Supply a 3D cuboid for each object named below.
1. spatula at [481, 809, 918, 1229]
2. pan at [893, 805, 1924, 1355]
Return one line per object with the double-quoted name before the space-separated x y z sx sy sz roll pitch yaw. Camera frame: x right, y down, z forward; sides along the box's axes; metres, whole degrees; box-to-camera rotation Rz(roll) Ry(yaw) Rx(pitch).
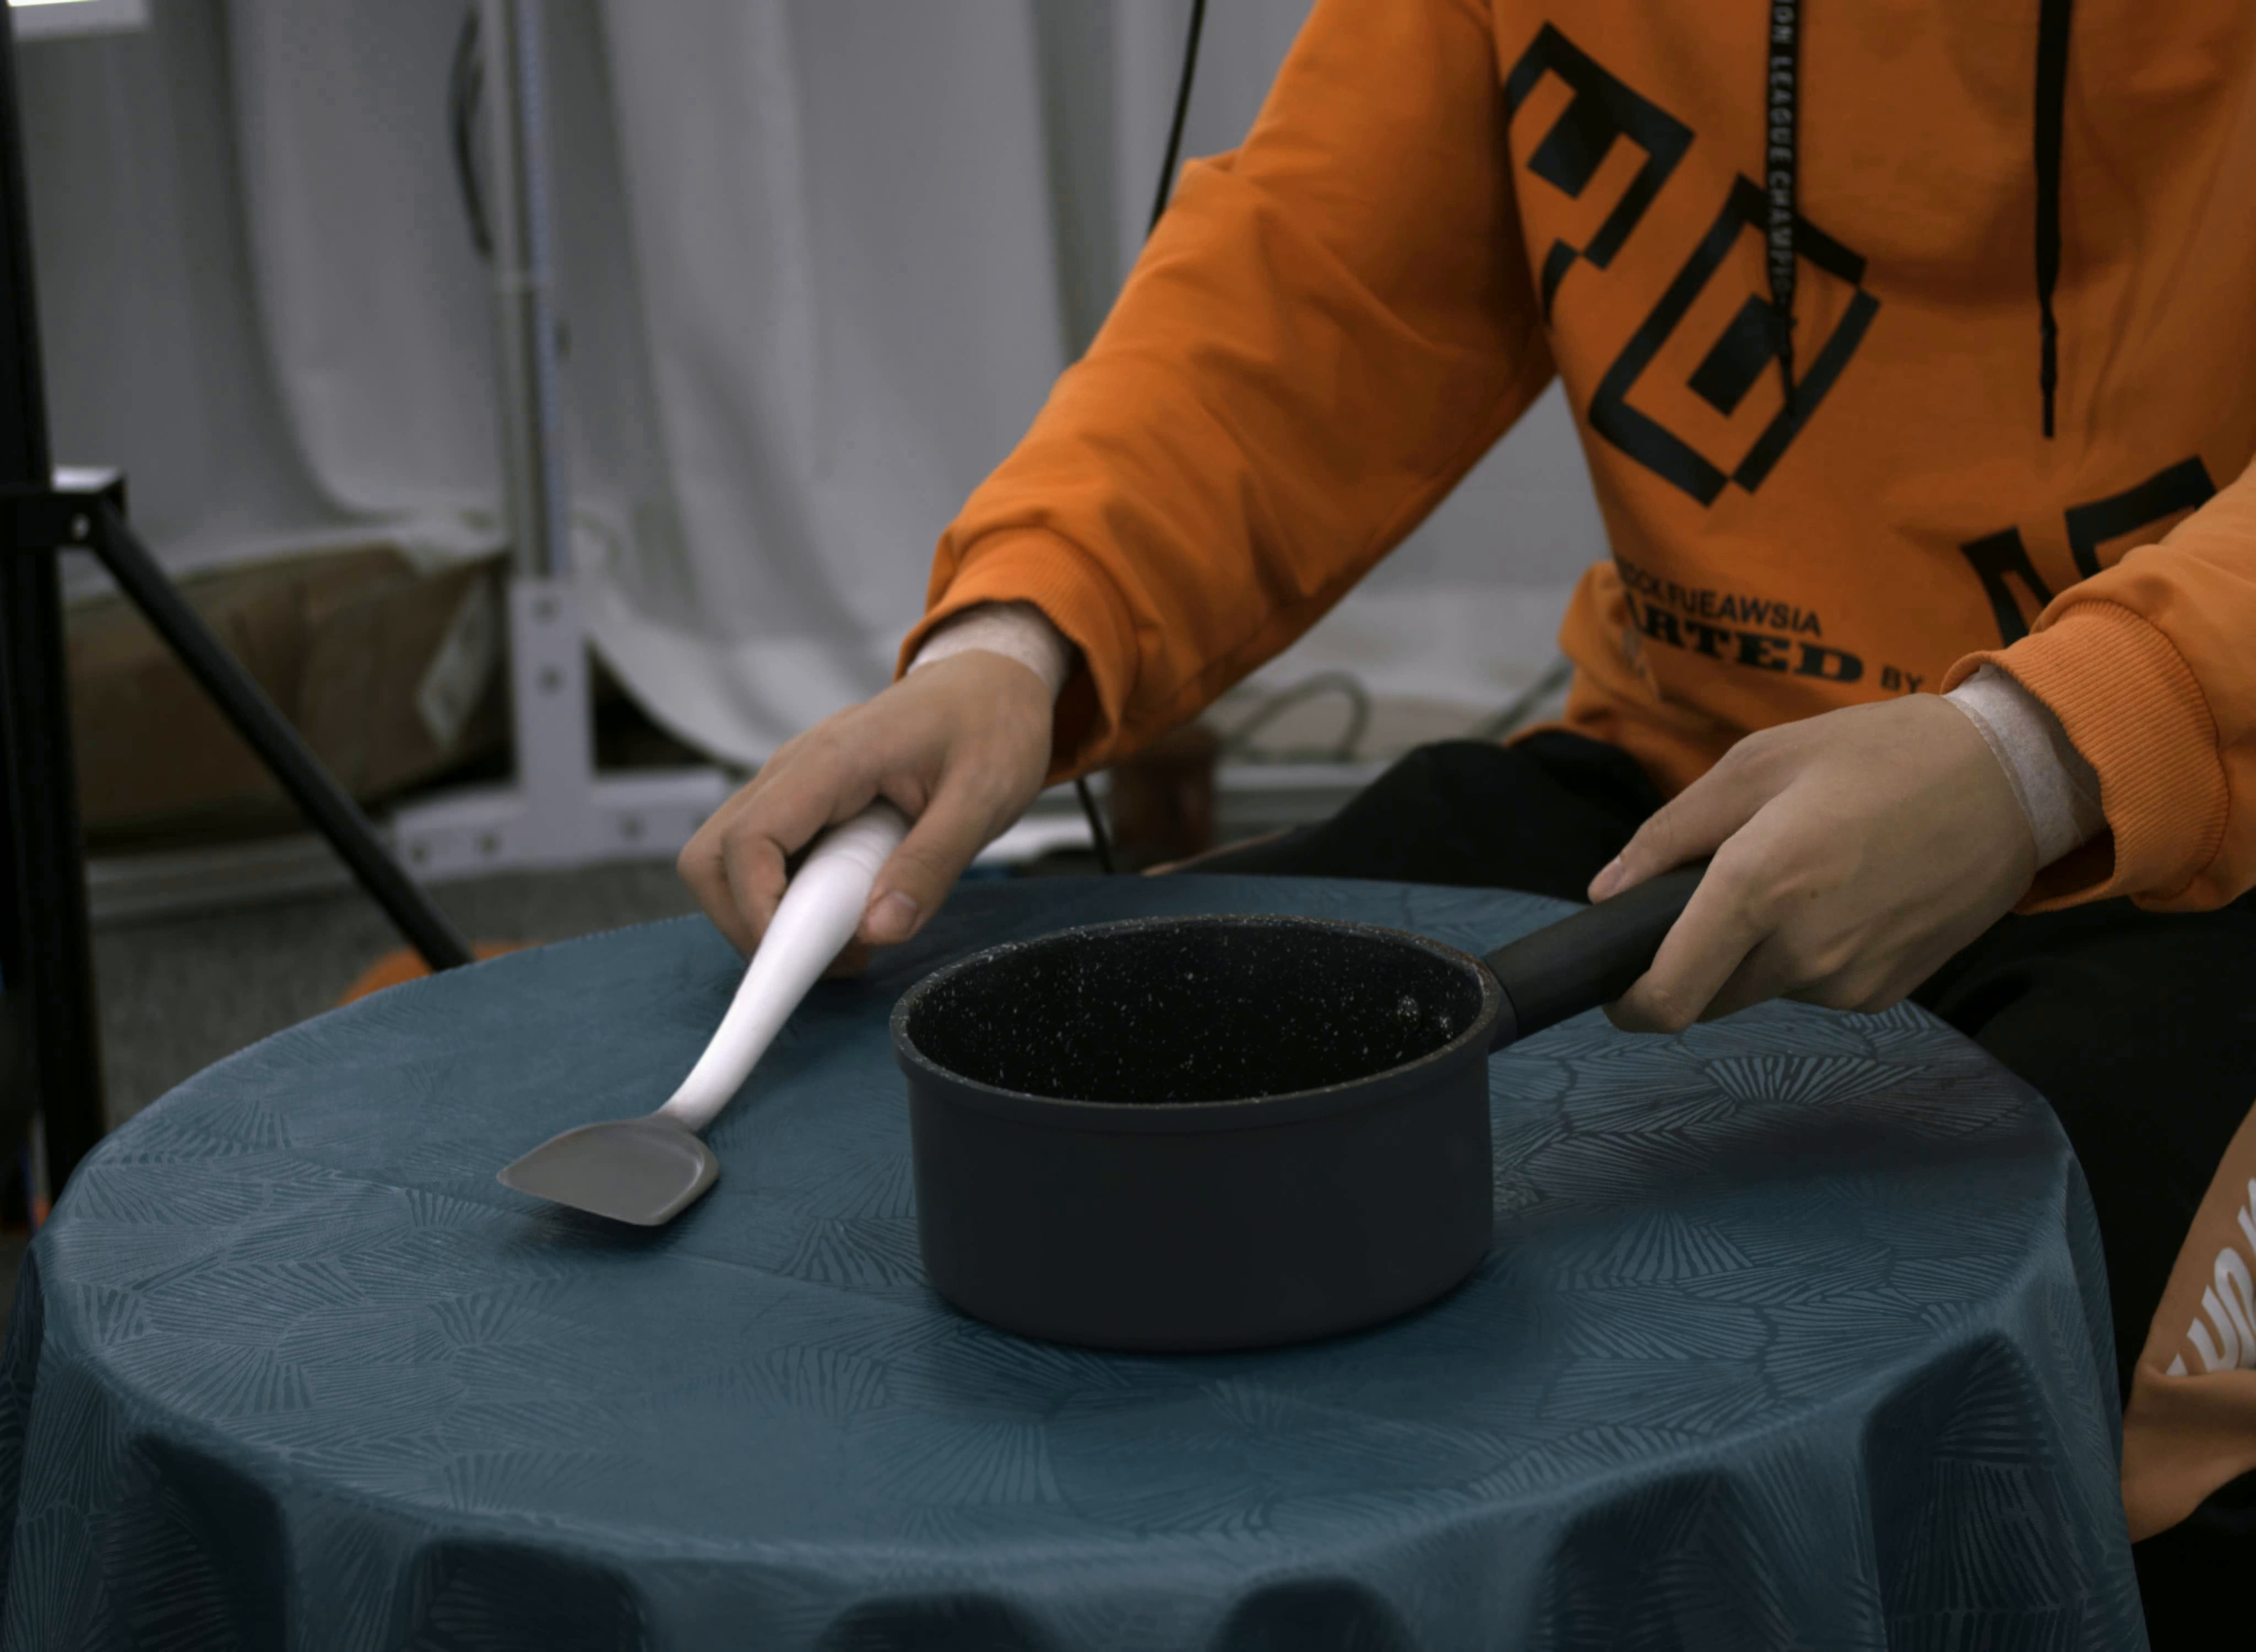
"spatula" -0.124 0.064 1.655 0.059 0.032 0.285 17 27 10
"pan" 0.090 0.068 1.523 0.322 0.086 0.175 -13 19 -25
